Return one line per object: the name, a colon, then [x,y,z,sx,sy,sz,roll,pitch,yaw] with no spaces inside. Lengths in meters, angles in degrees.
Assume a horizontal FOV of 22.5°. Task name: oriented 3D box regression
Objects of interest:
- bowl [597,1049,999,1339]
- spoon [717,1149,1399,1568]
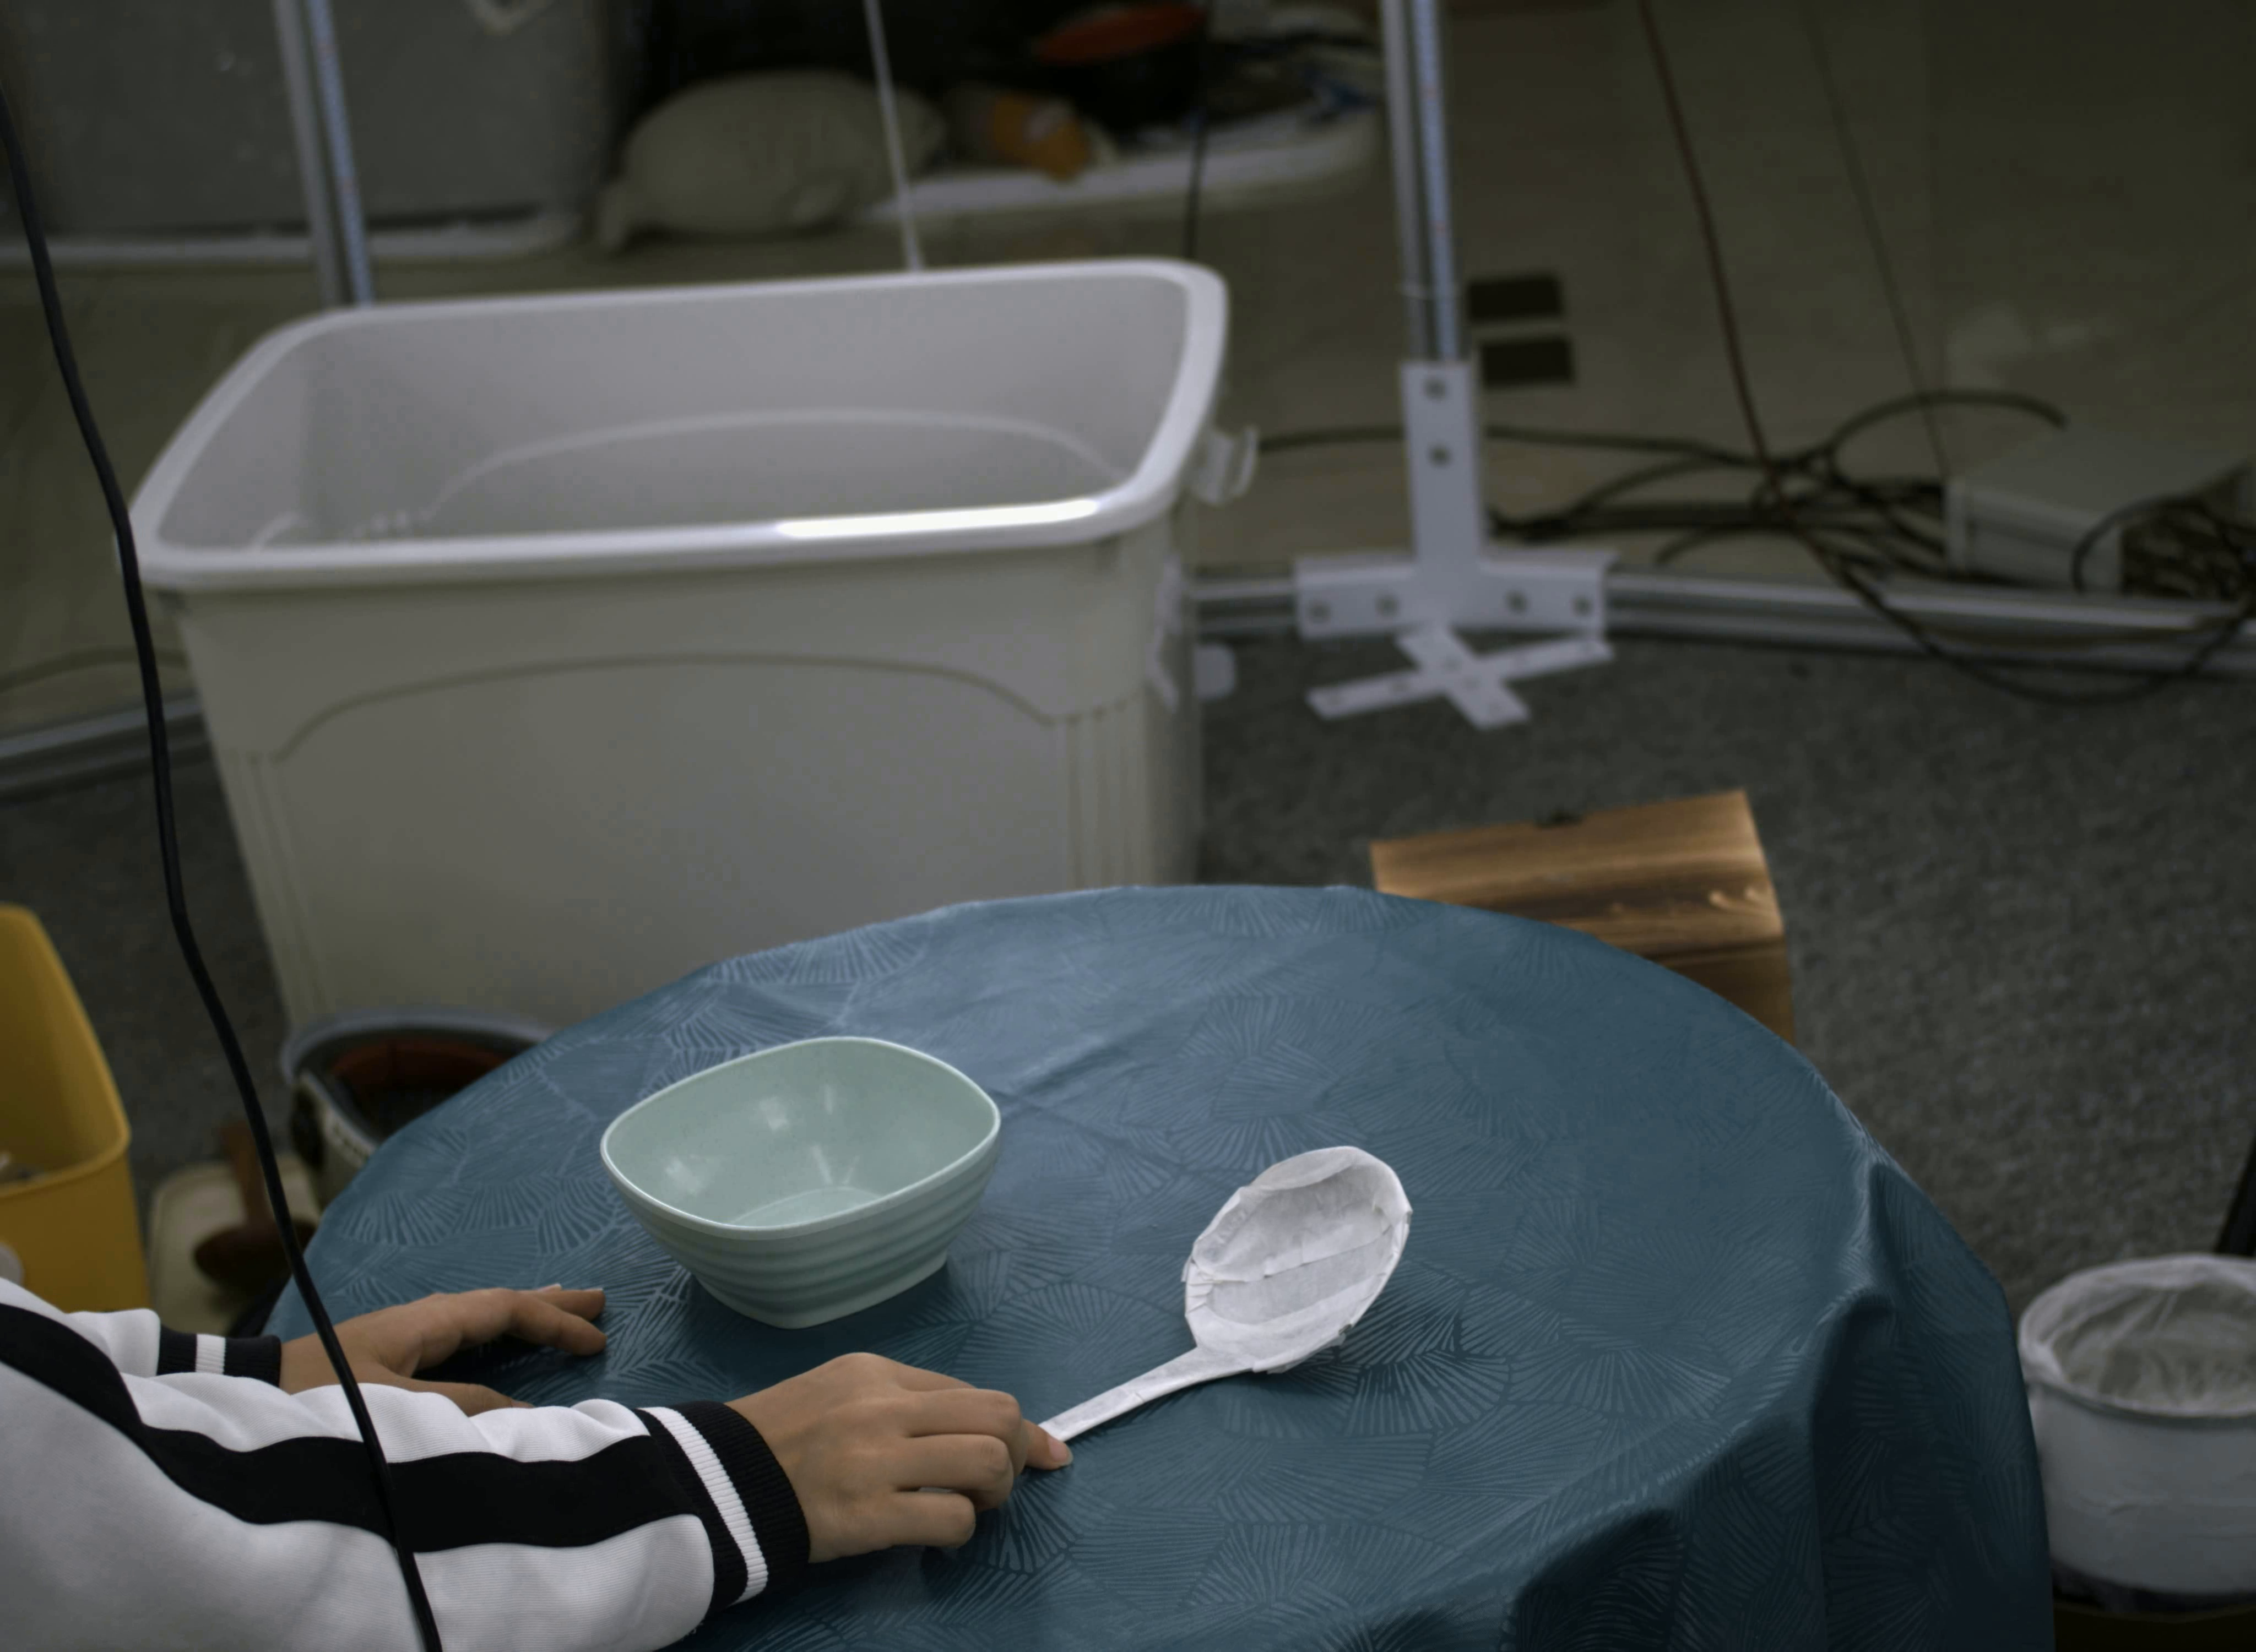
bowl: [-0.120,0.142,2.110,0.151,0.059,0.149,-5,24,3]
spoon: [-0.027,0.184,1.990,0.276,0.060,0.100,-19,23,-25]
